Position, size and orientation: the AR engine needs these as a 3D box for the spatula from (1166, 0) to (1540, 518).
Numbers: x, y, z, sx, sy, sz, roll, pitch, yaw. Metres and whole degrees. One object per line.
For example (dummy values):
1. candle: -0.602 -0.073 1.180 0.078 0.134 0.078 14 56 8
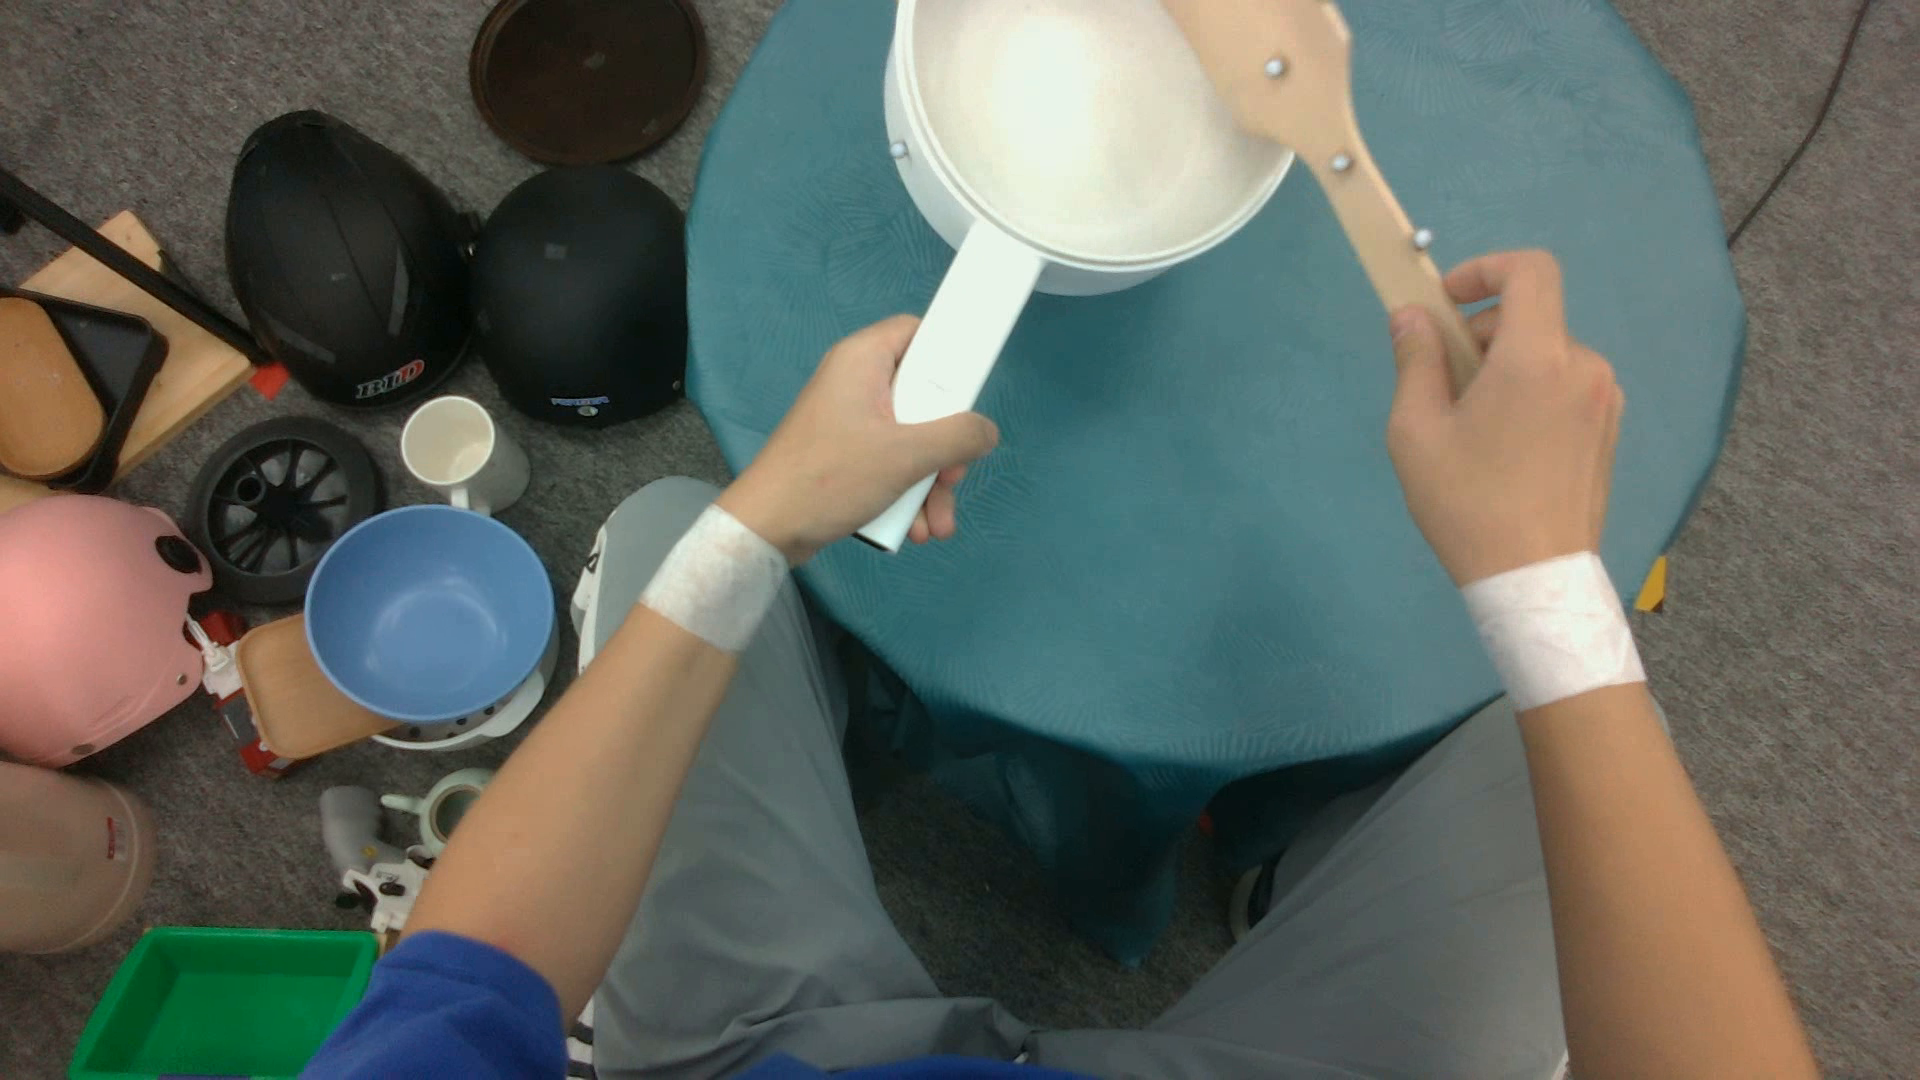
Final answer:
1. spatula: 0.180 -0.143 0.612 0.011 0.072 0.293 -21 82 -42

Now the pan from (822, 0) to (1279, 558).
1. pan: 0.024 -0.155 0.697 0.201 0.102 0.355 26 82 -9
